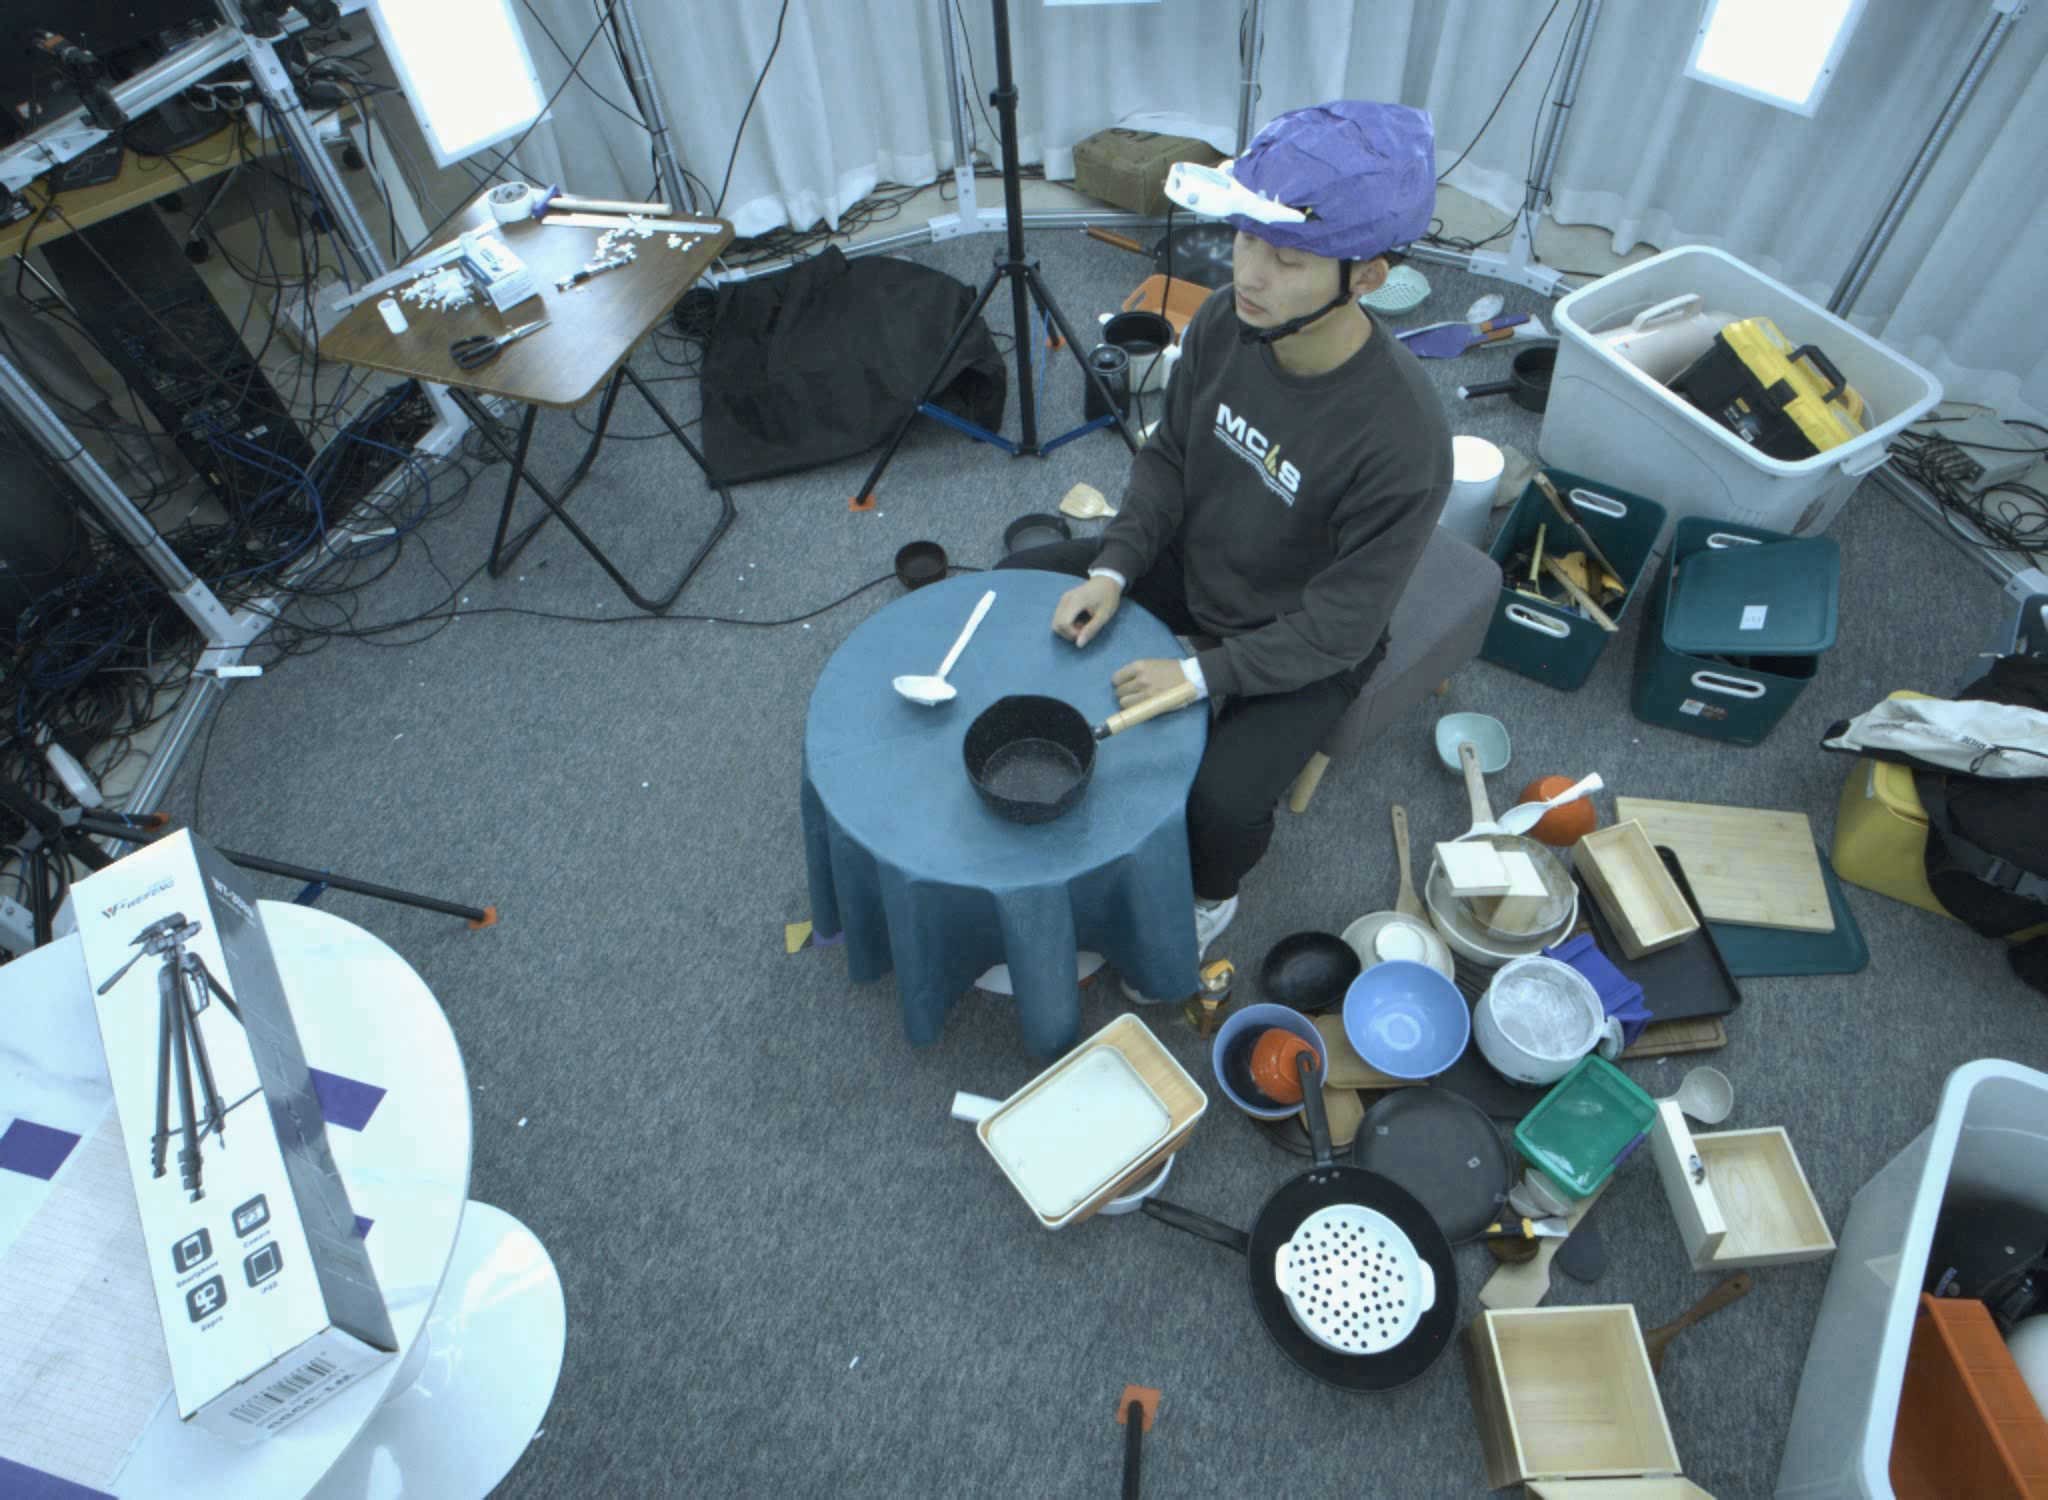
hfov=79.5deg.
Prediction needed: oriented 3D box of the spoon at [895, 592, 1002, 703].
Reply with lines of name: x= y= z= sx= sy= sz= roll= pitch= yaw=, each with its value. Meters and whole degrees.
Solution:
spoon: x=-0.099 y=-0.165 z=1.881 sx=0.099 sy=0.060 sz=0.278 roll=24 pitch=58 yaw=13

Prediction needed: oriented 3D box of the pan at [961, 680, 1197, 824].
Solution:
pan: x=0.082 y=-0.014 z=1.737 sx=0.345 sy=0.109 sz=0.204 roll=-19 pitch=55 yaw=-10
